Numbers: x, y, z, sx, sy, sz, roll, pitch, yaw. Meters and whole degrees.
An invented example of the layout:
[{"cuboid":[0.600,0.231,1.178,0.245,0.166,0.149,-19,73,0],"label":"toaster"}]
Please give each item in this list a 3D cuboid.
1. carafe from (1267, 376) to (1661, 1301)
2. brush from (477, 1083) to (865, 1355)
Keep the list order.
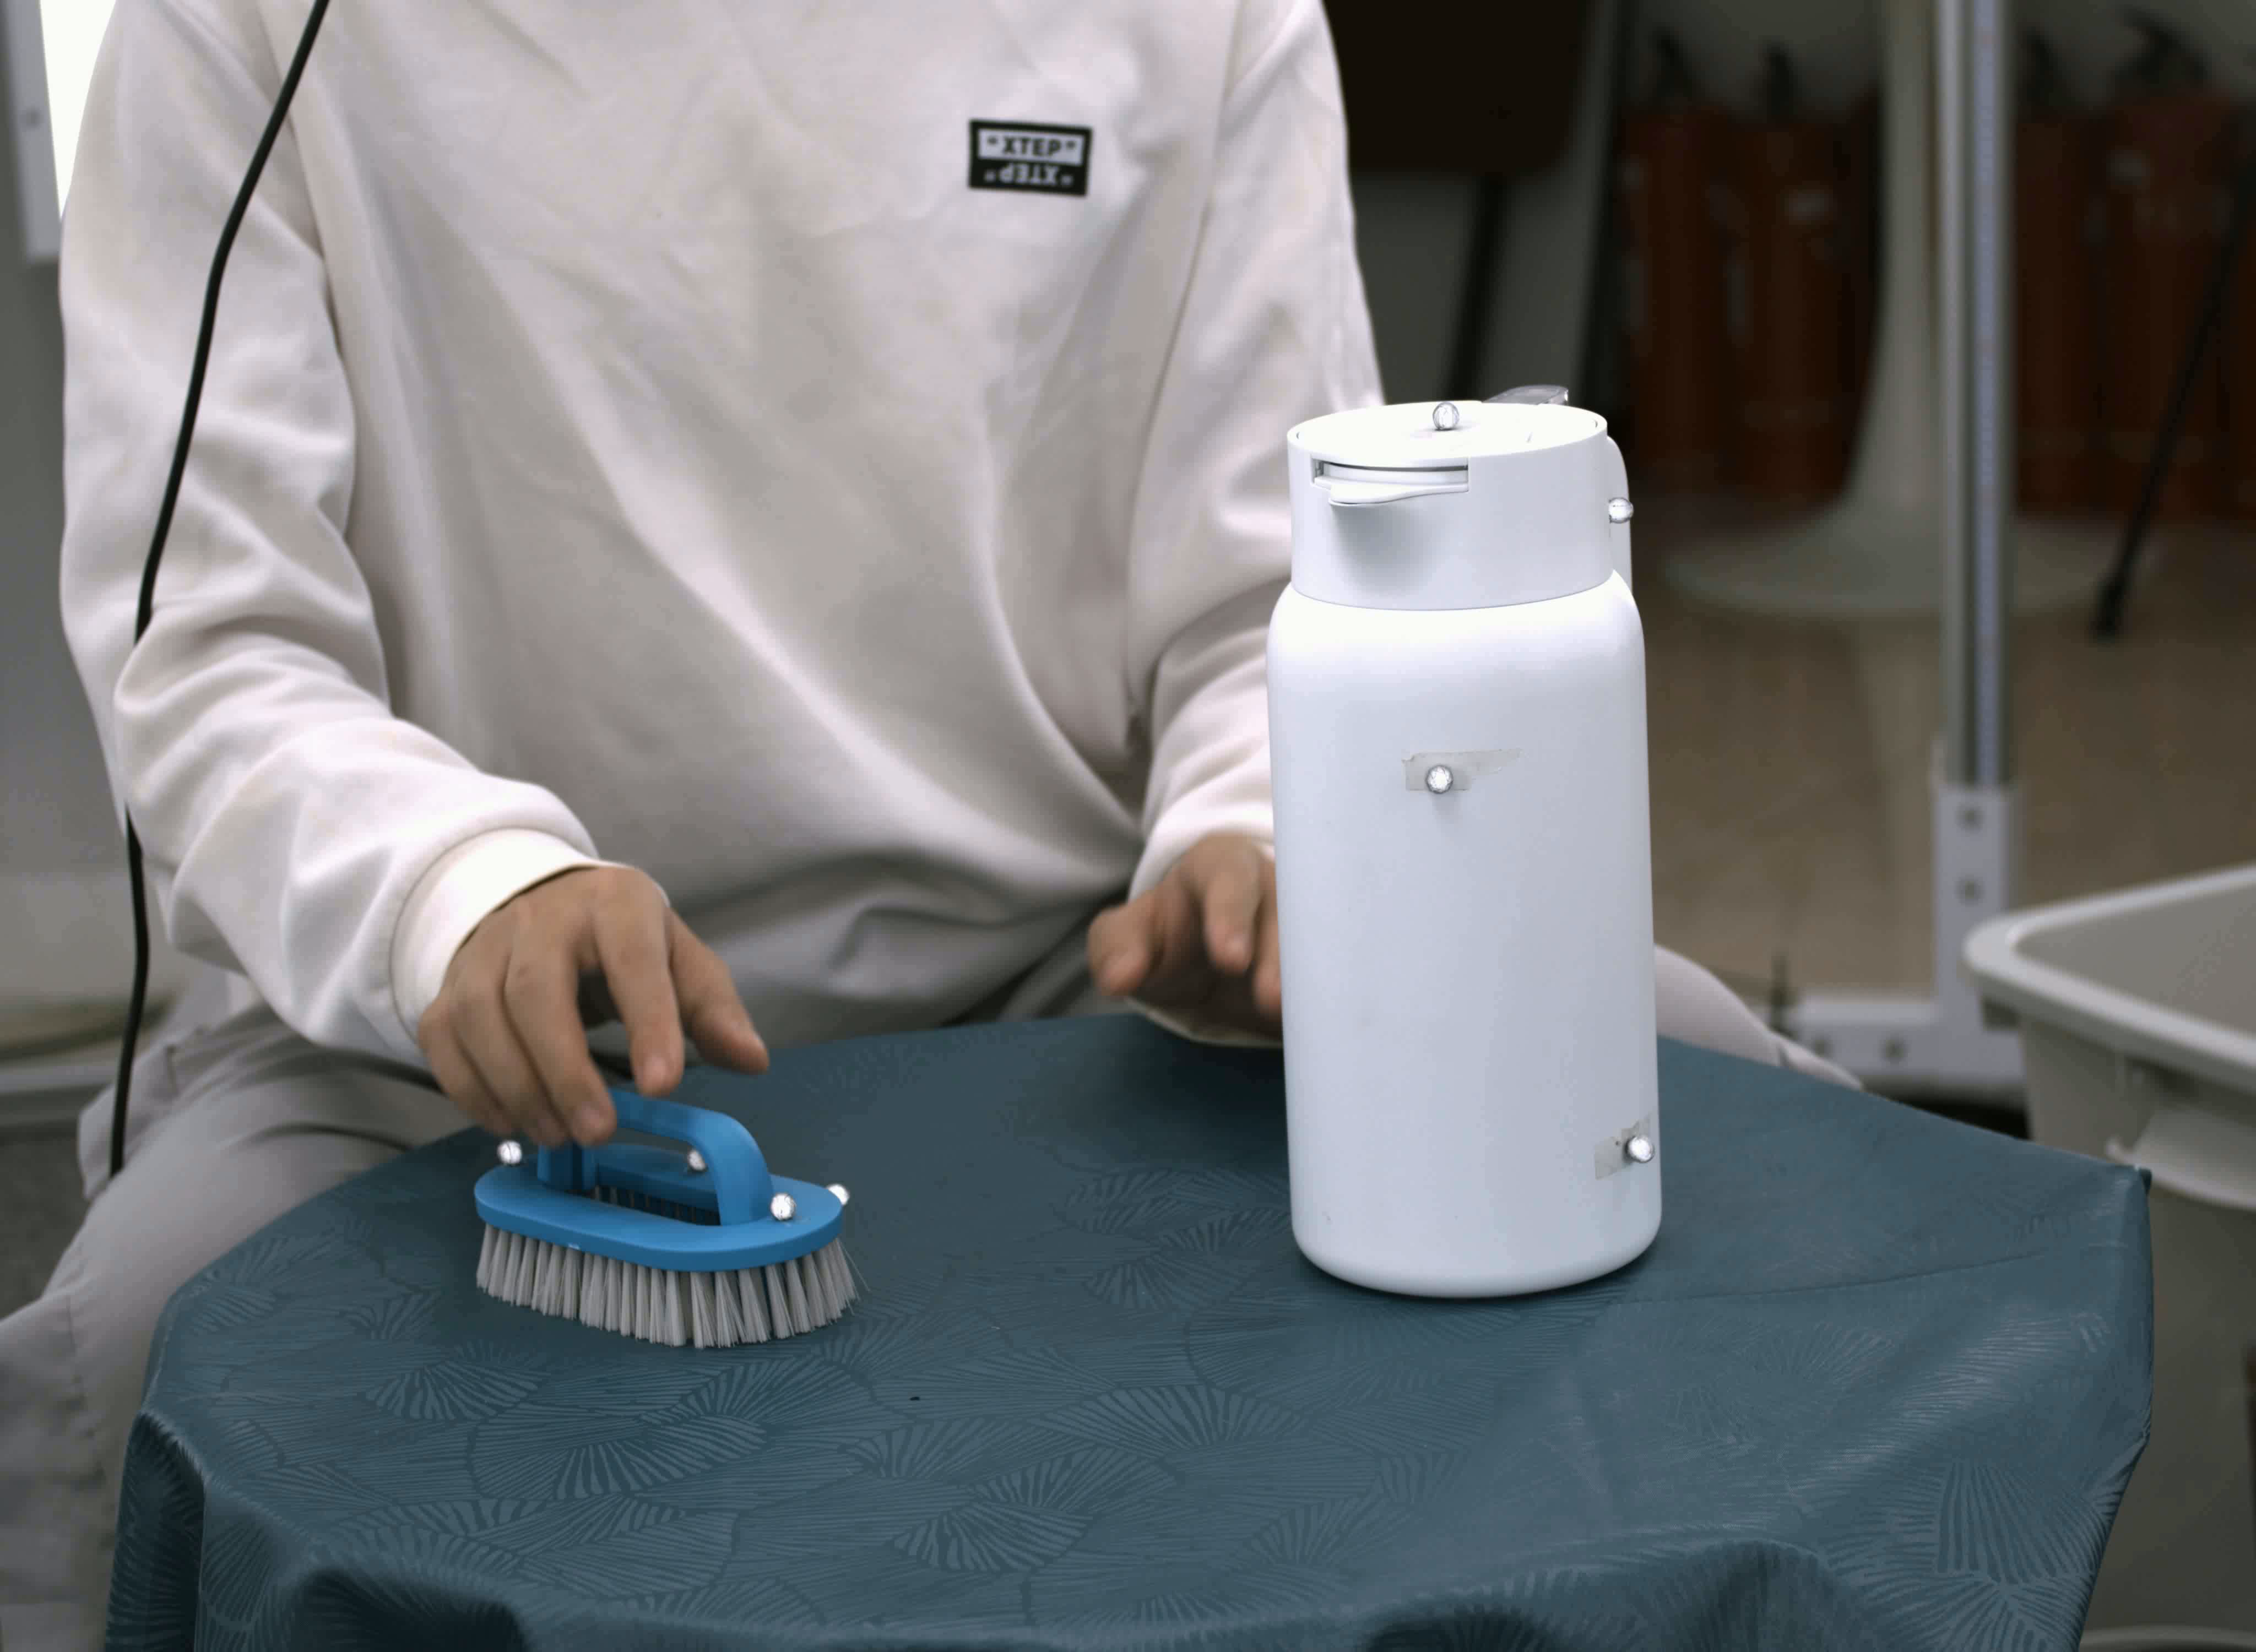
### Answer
[{"cuboid":[0.110,0.000,1.678,0.124,0.272,0.170,2,13,29],"label":"carafe"},{"cuboid":[-0.147,0.116,1.699,0.143,0.064,0.083,8,23,45],"label":"brush"}]
